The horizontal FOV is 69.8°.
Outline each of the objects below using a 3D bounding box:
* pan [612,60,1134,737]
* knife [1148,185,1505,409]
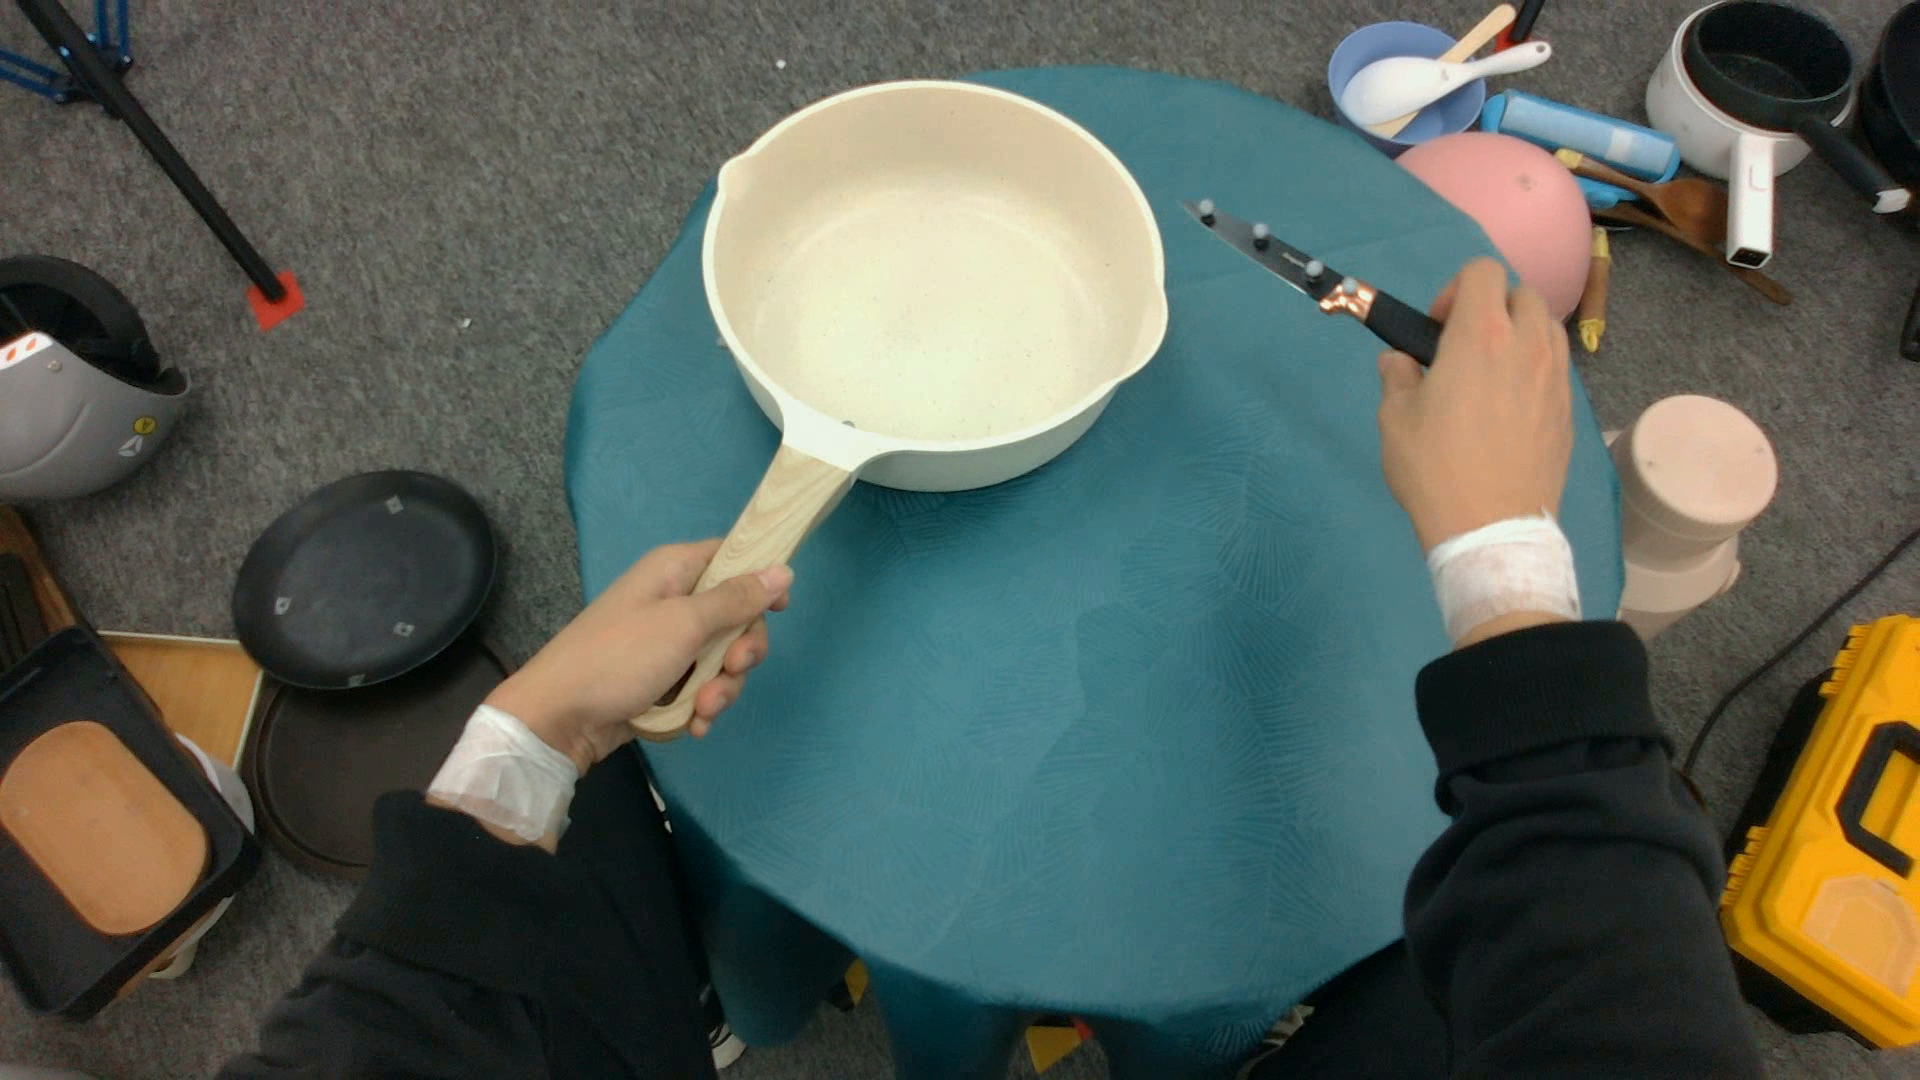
[{"bbox_3d":[-0.069,-0.078,0.739,0.263,0.101,0.437,23,64,5],"label":"pan"},{"bbox_3d":[0.180,-0.132,0.704,0.026,0.017,0.226,-40,59,-12],"label":"knife"}]
